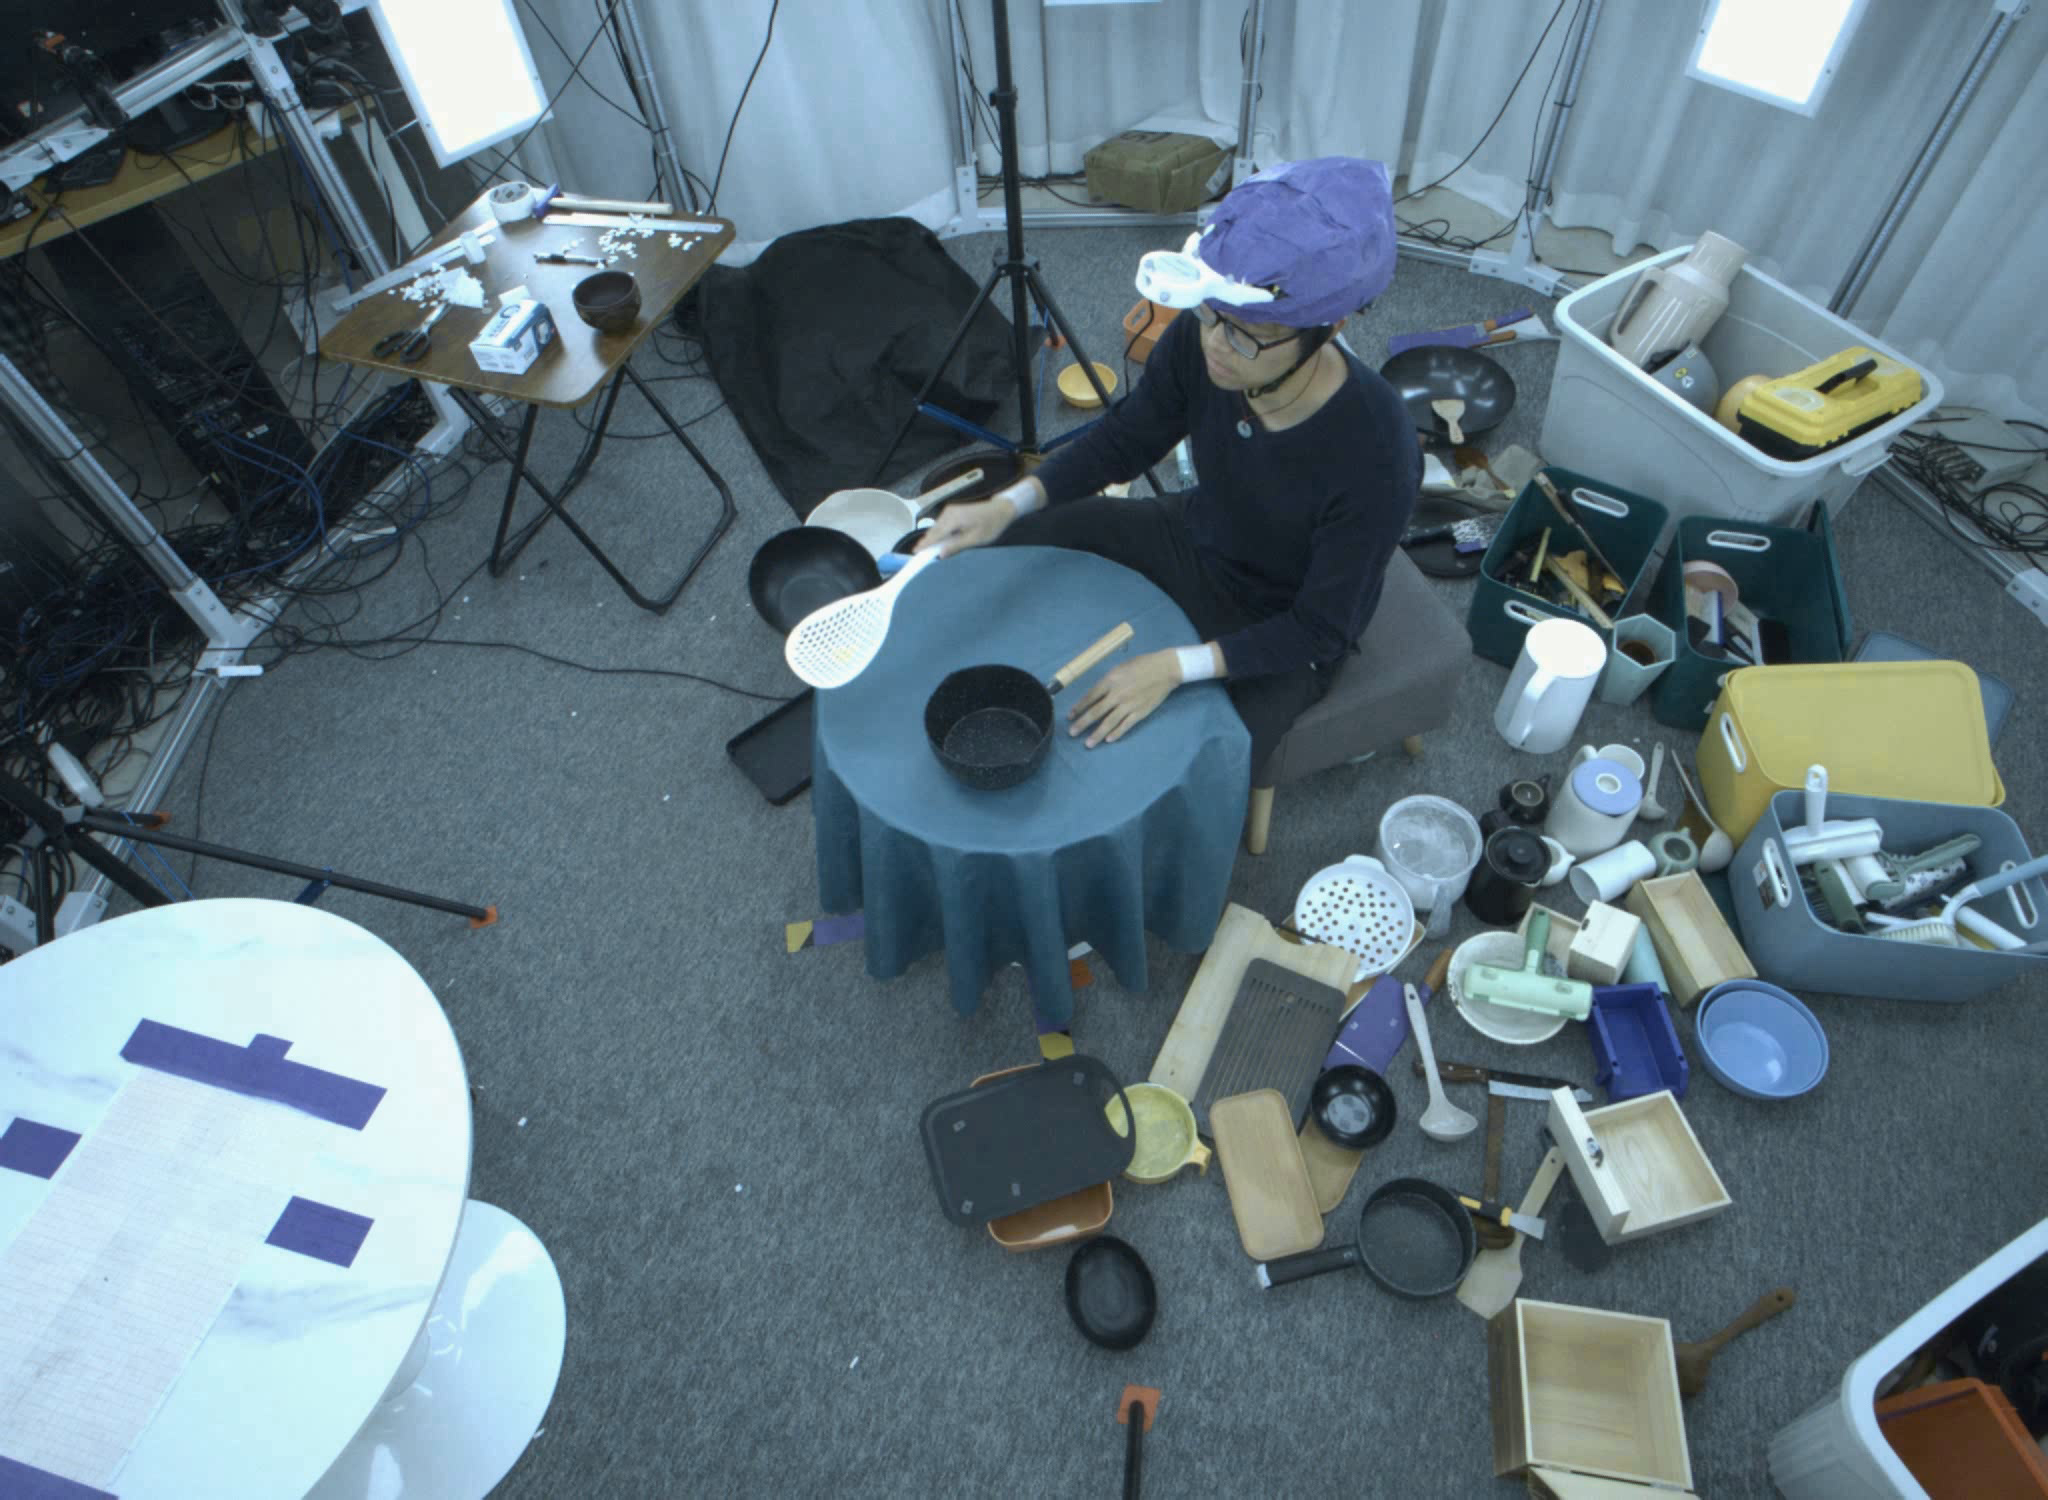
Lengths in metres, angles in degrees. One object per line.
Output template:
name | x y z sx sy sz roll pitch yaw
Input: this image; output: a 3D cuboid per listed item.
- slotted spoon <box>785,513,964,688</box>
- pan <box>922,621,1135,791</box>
slotted spoon | -0.203 -0.226 1.778 0.134 0.051 0.348 35 80 24
pan | 0.016 -0.072 1.771 0.345 0.109 0.203 -32 58 -17
